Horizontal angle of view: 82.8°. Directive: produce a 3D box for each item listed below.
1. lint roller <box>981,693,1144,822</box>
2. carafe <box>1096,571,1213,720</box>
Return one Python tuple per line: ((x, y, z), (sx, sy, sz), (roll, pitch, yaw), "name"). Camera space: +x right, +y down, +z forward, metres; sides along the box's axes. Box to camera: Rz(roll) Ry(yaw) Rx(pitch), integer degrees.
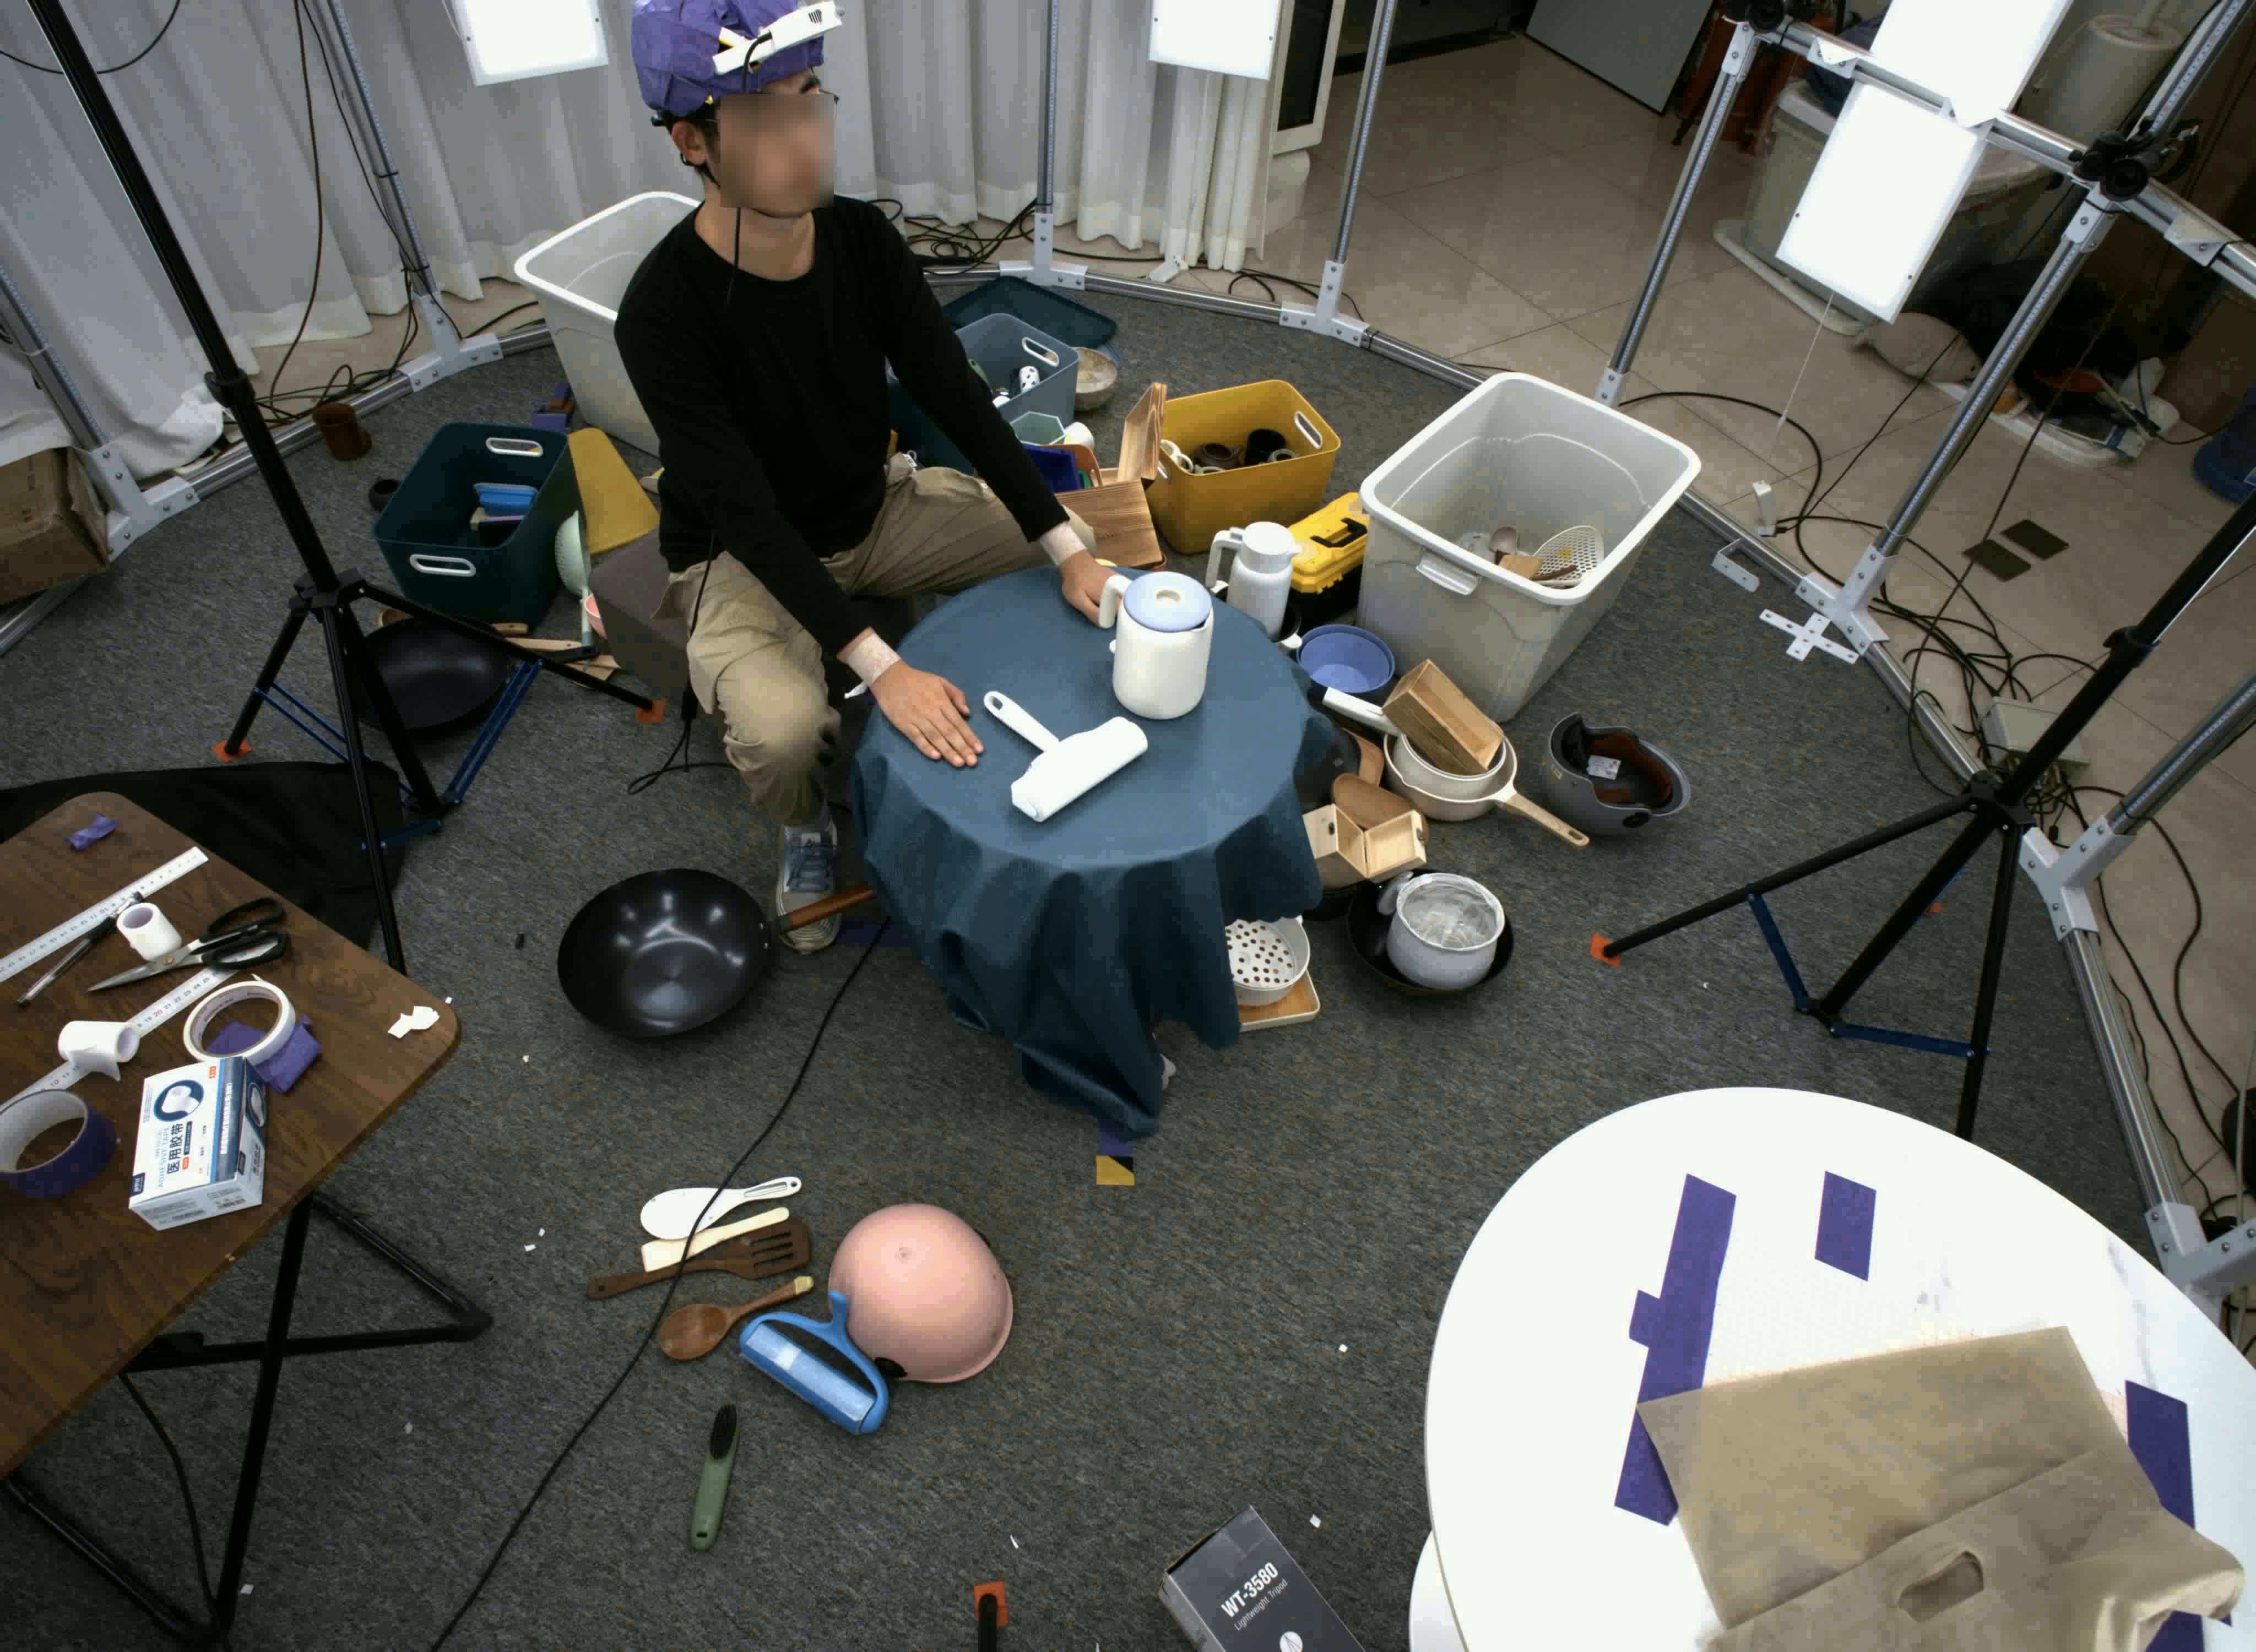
((-0.122, -0.124, 1.741), (0.204, 0.047, 0.229), (-36, 59, -28), "lint roller")
((0.030, -0.263, 1.789), (0.194, 0.178, 0.133), (35, 55, 26), "carafe")
